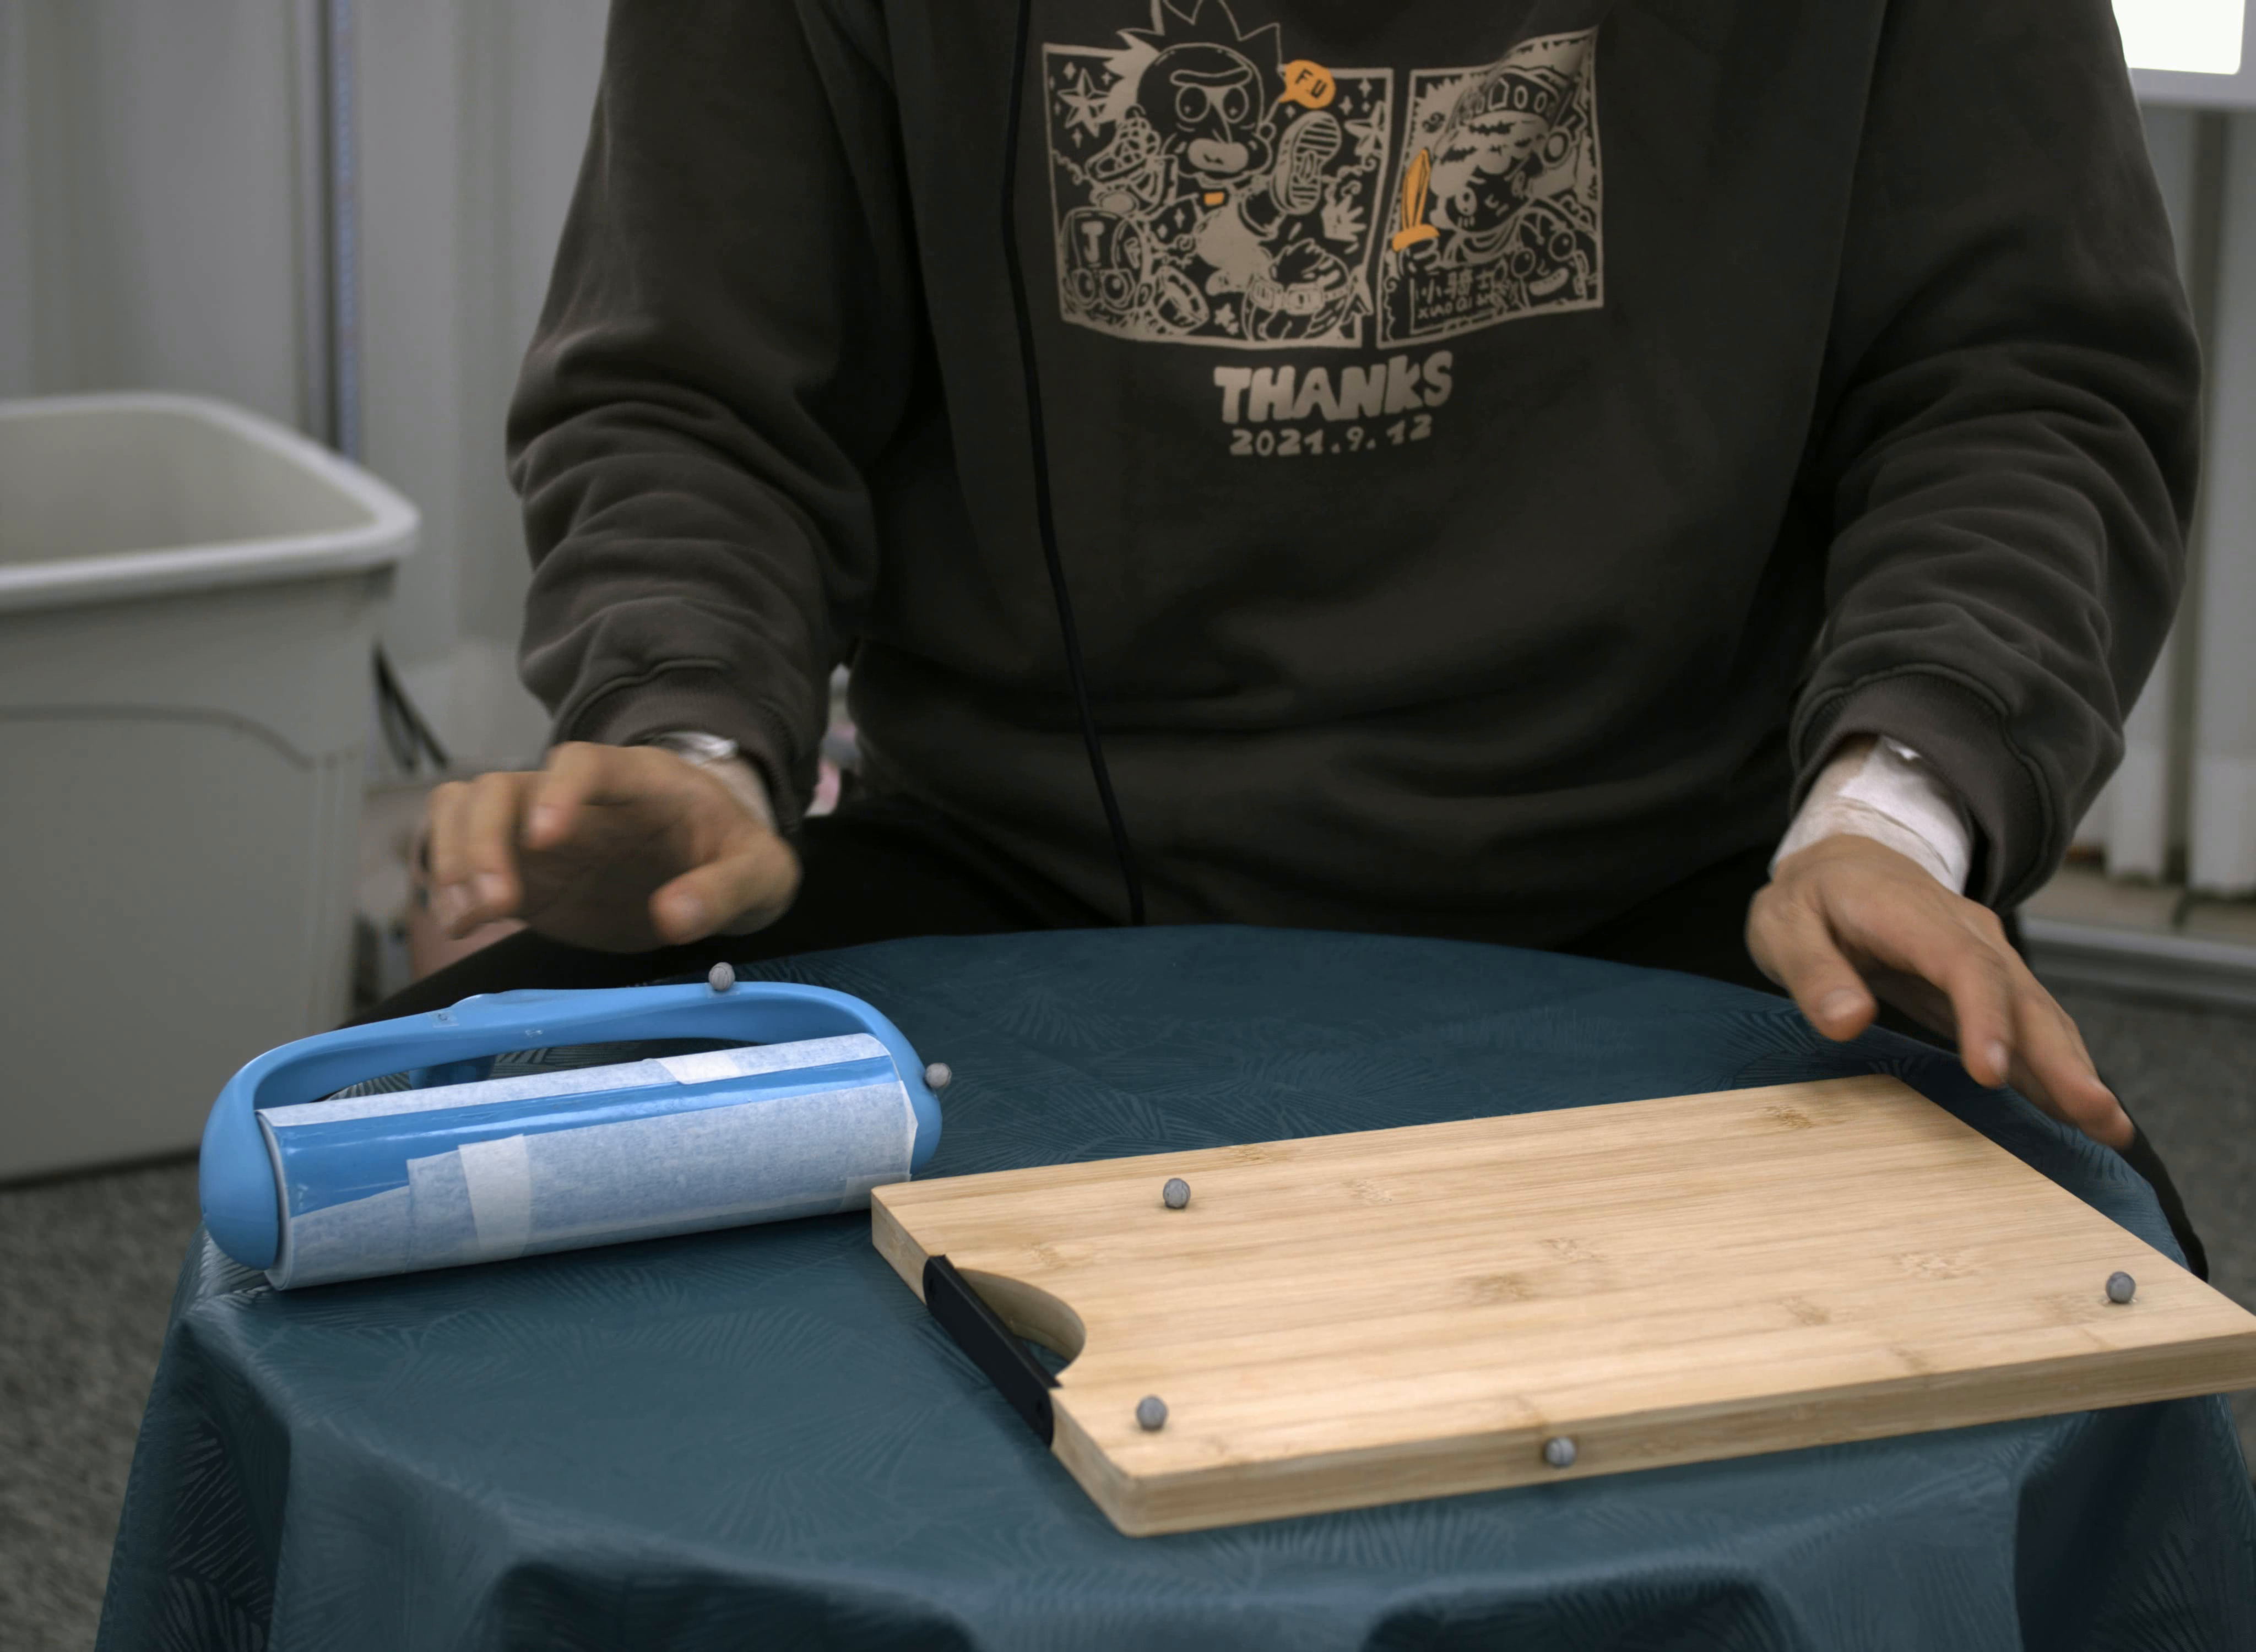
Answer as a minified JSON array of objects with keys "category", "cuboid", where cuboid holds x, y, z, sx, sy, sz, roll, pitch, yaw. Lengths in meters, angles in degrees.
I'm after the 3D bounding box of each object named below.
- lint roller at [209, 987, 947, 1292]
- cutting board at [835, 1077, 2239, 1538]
[{"category":"lint roller","cuboid":[-0.188,0.084,1.619,0.230,0.068,0.178,-8,18,-27]},{"category":"cutting board","cuboid":[0.114,0.134,1.528,0.349,0.024,0.248,-5,16,-20]}]
